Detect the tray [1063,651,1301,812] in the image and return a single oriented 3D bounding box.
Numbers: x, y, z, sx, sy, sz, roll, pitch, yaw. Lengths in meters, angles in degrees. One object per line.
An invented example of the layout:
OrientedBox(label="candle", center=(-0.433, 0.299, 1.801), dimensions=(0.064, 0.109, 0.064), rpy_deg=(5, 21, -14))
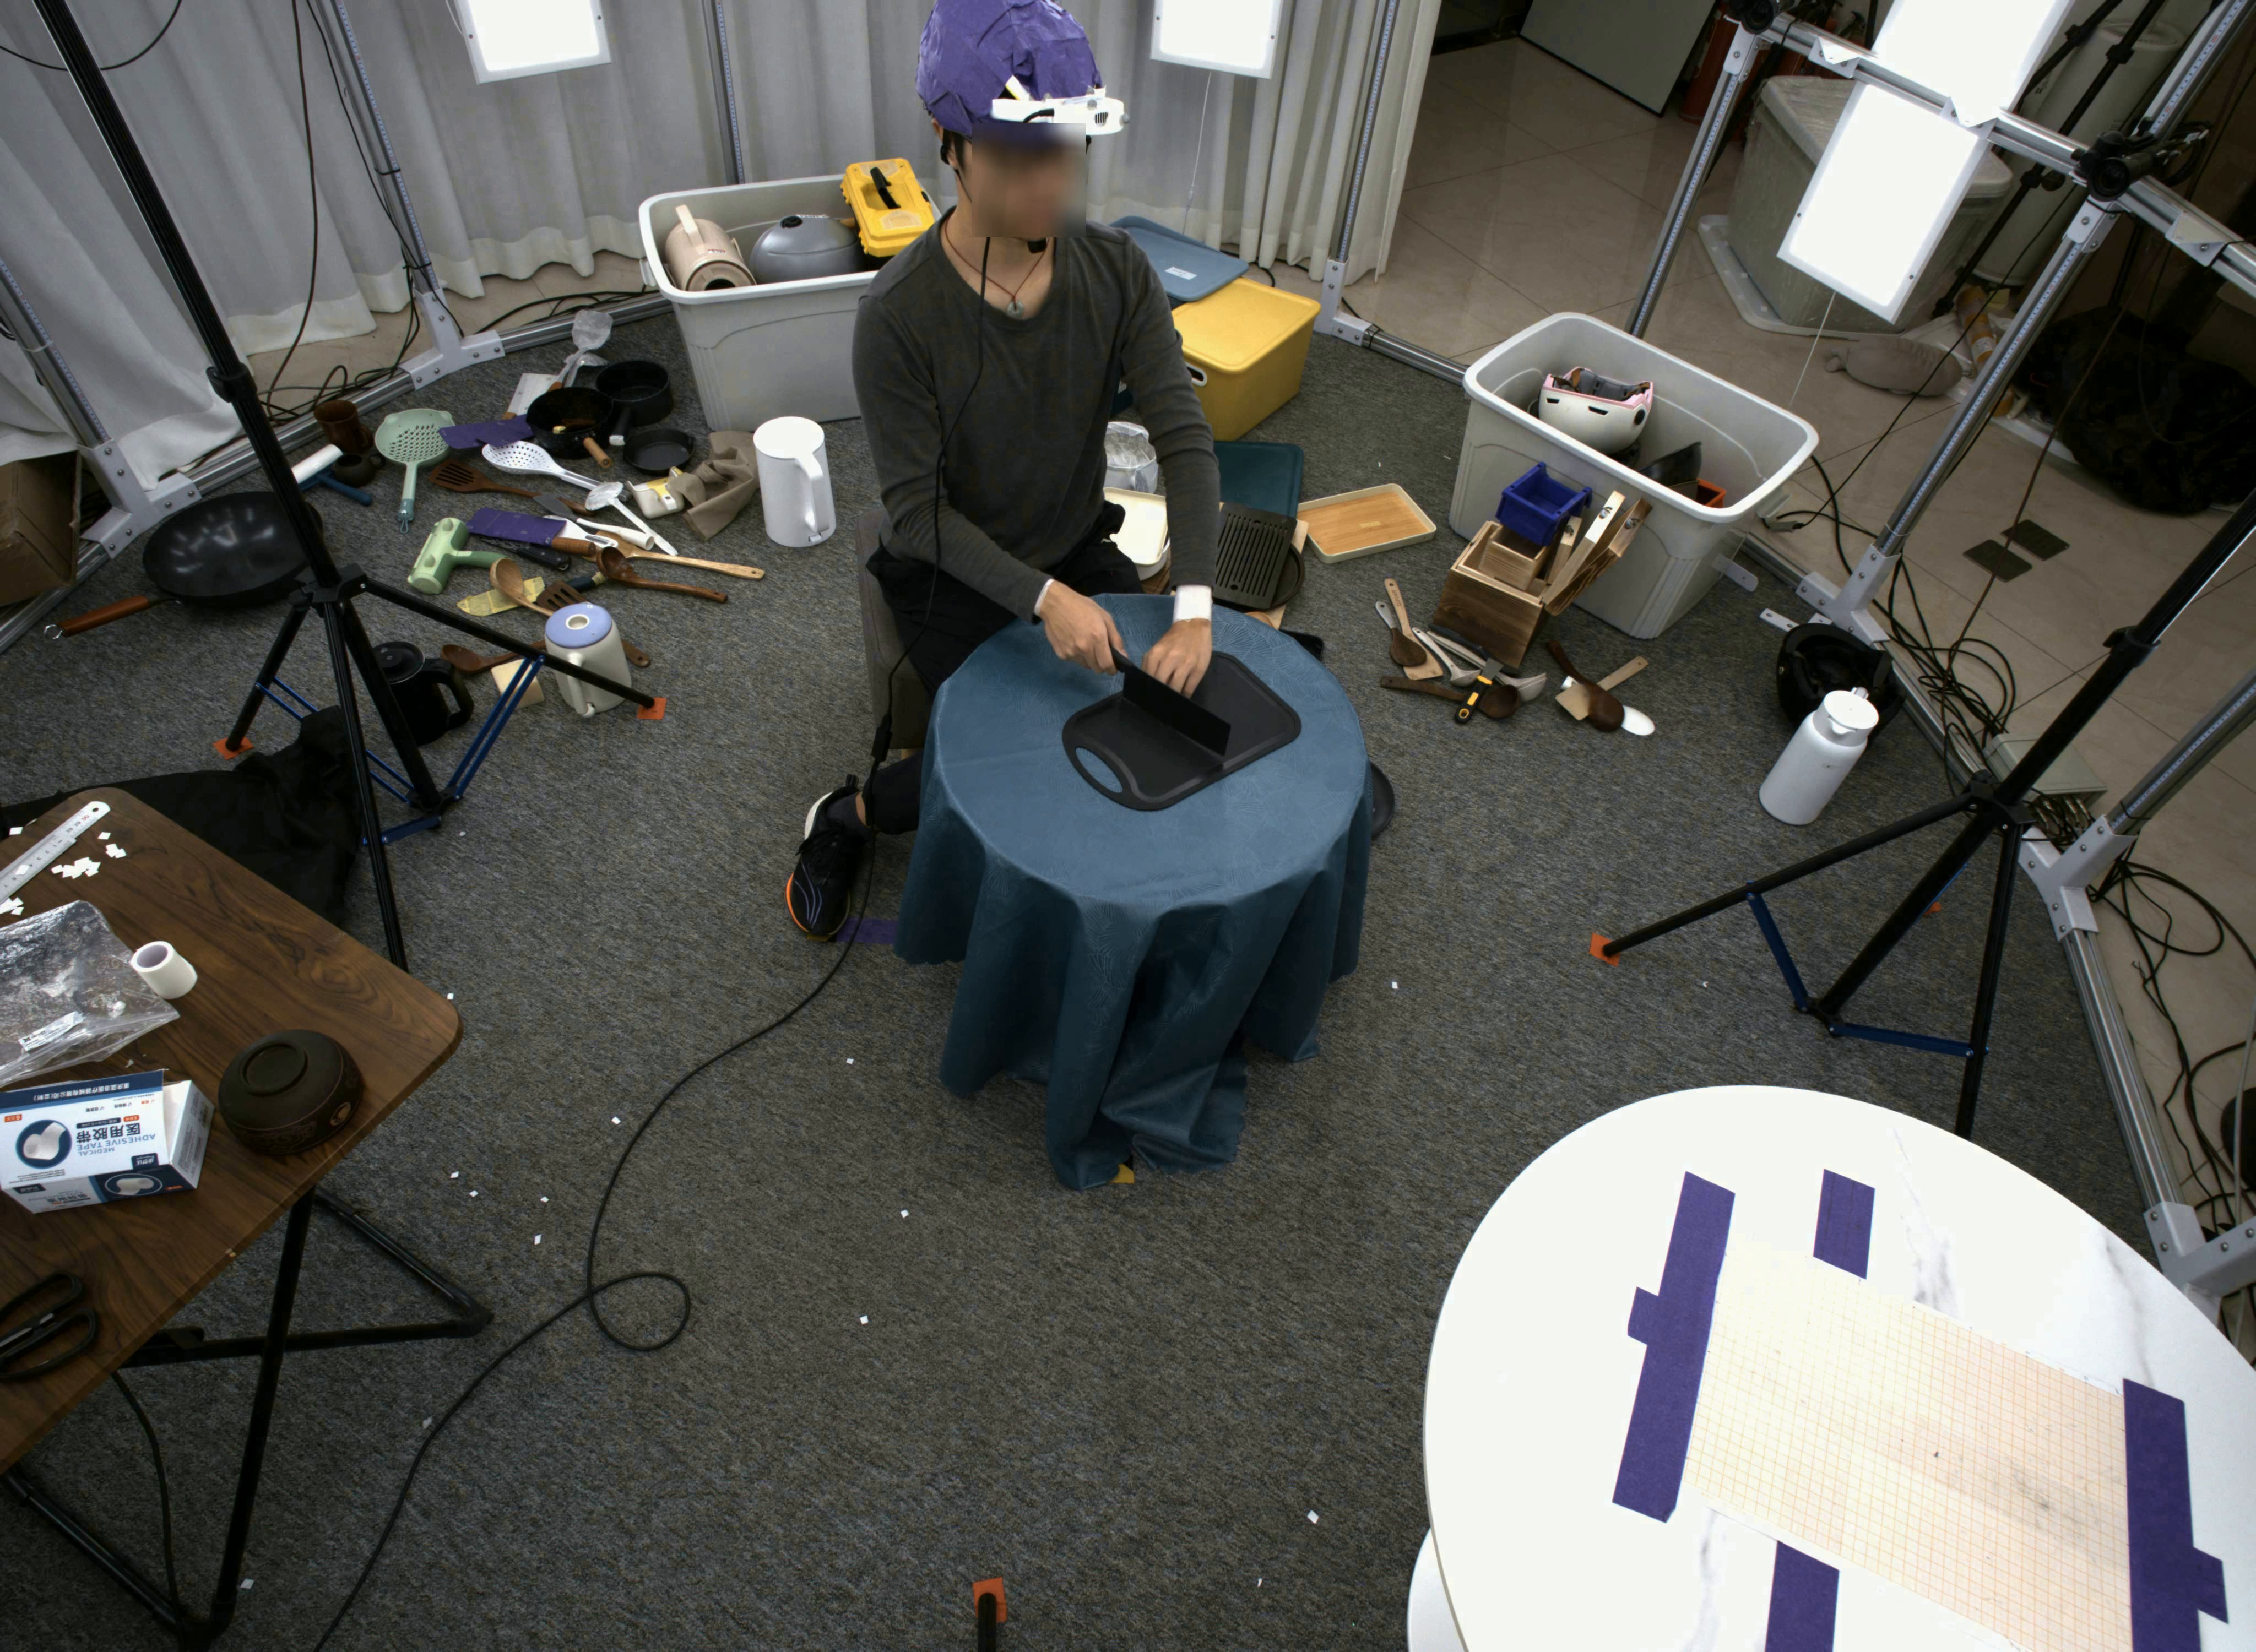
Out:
OrientedBox(label="tray", center=(0.071, -0.135, 1.783), dimensions=(0.327, 0.009, 0.215), rpy_deg=(-27, 57, -25))

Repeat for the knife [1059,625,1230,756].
OrientedBox(label="knife", center=(0.020, -0.194, 1.783), dimensions=(0.306, 0.079, 0.021), rpy_deg=(37, 52, 20))
